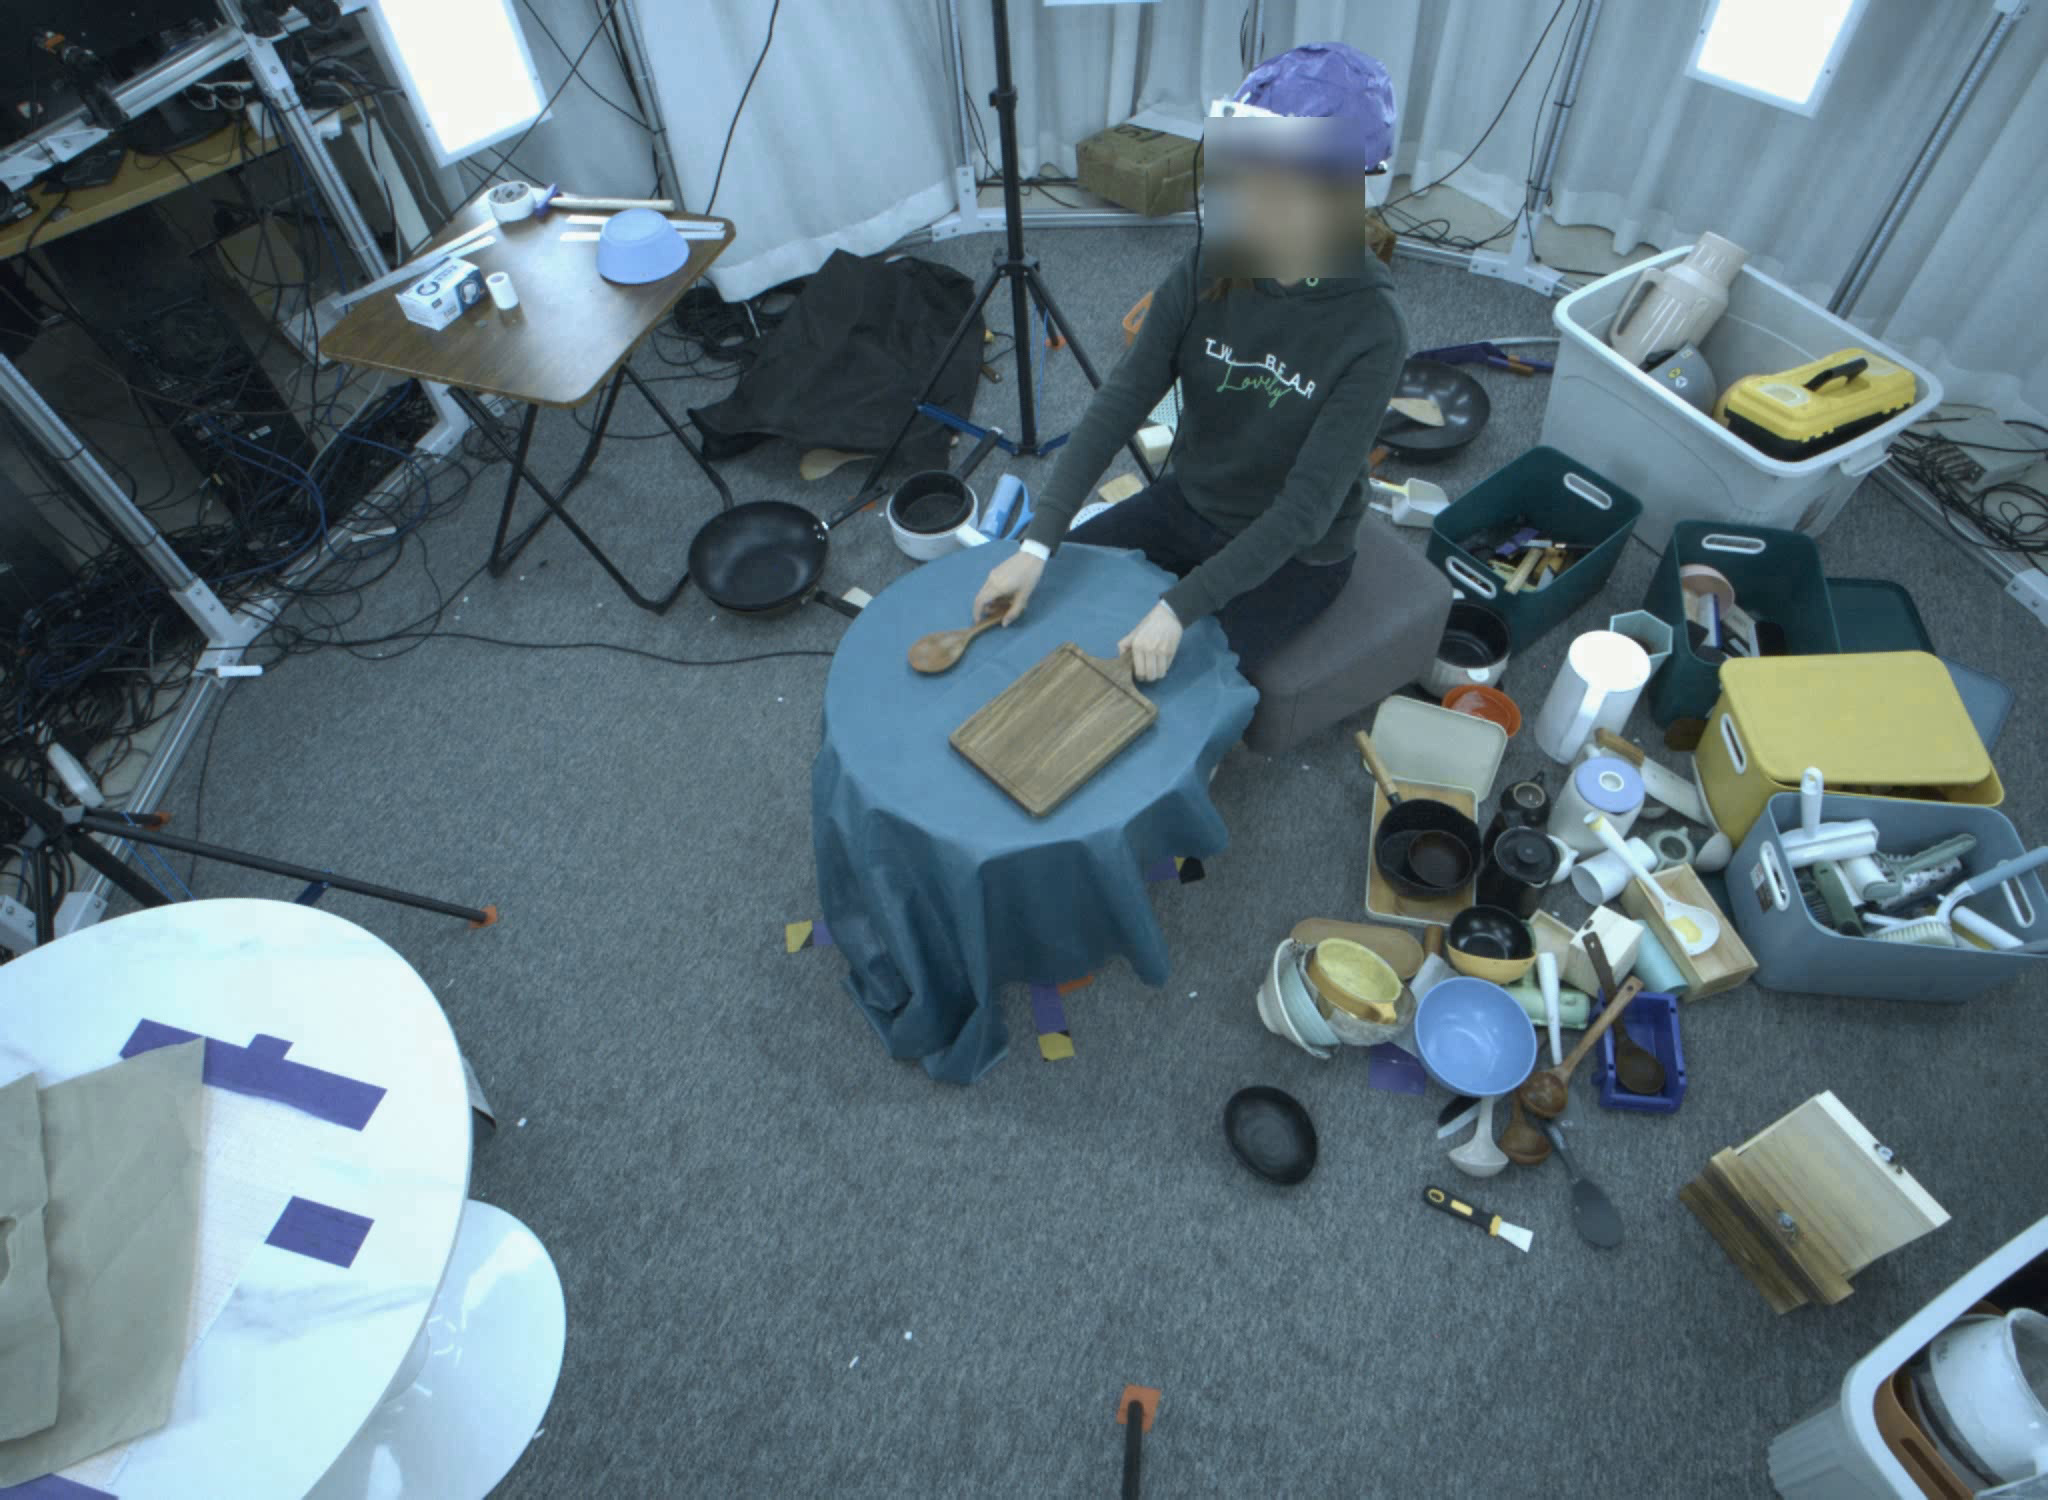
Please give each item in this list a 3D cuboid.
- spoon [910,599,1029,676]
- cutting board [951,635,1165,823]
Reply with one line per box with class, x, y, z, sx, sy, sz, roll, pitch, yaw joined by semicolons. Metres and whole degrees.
spoon;-0.082;-0.177;1.913;0.217;0.017;0.074;-33;58;-19
cutting board;0.082;-0.058;1.815;0.354;0.023;0.197;-40;62;-20
